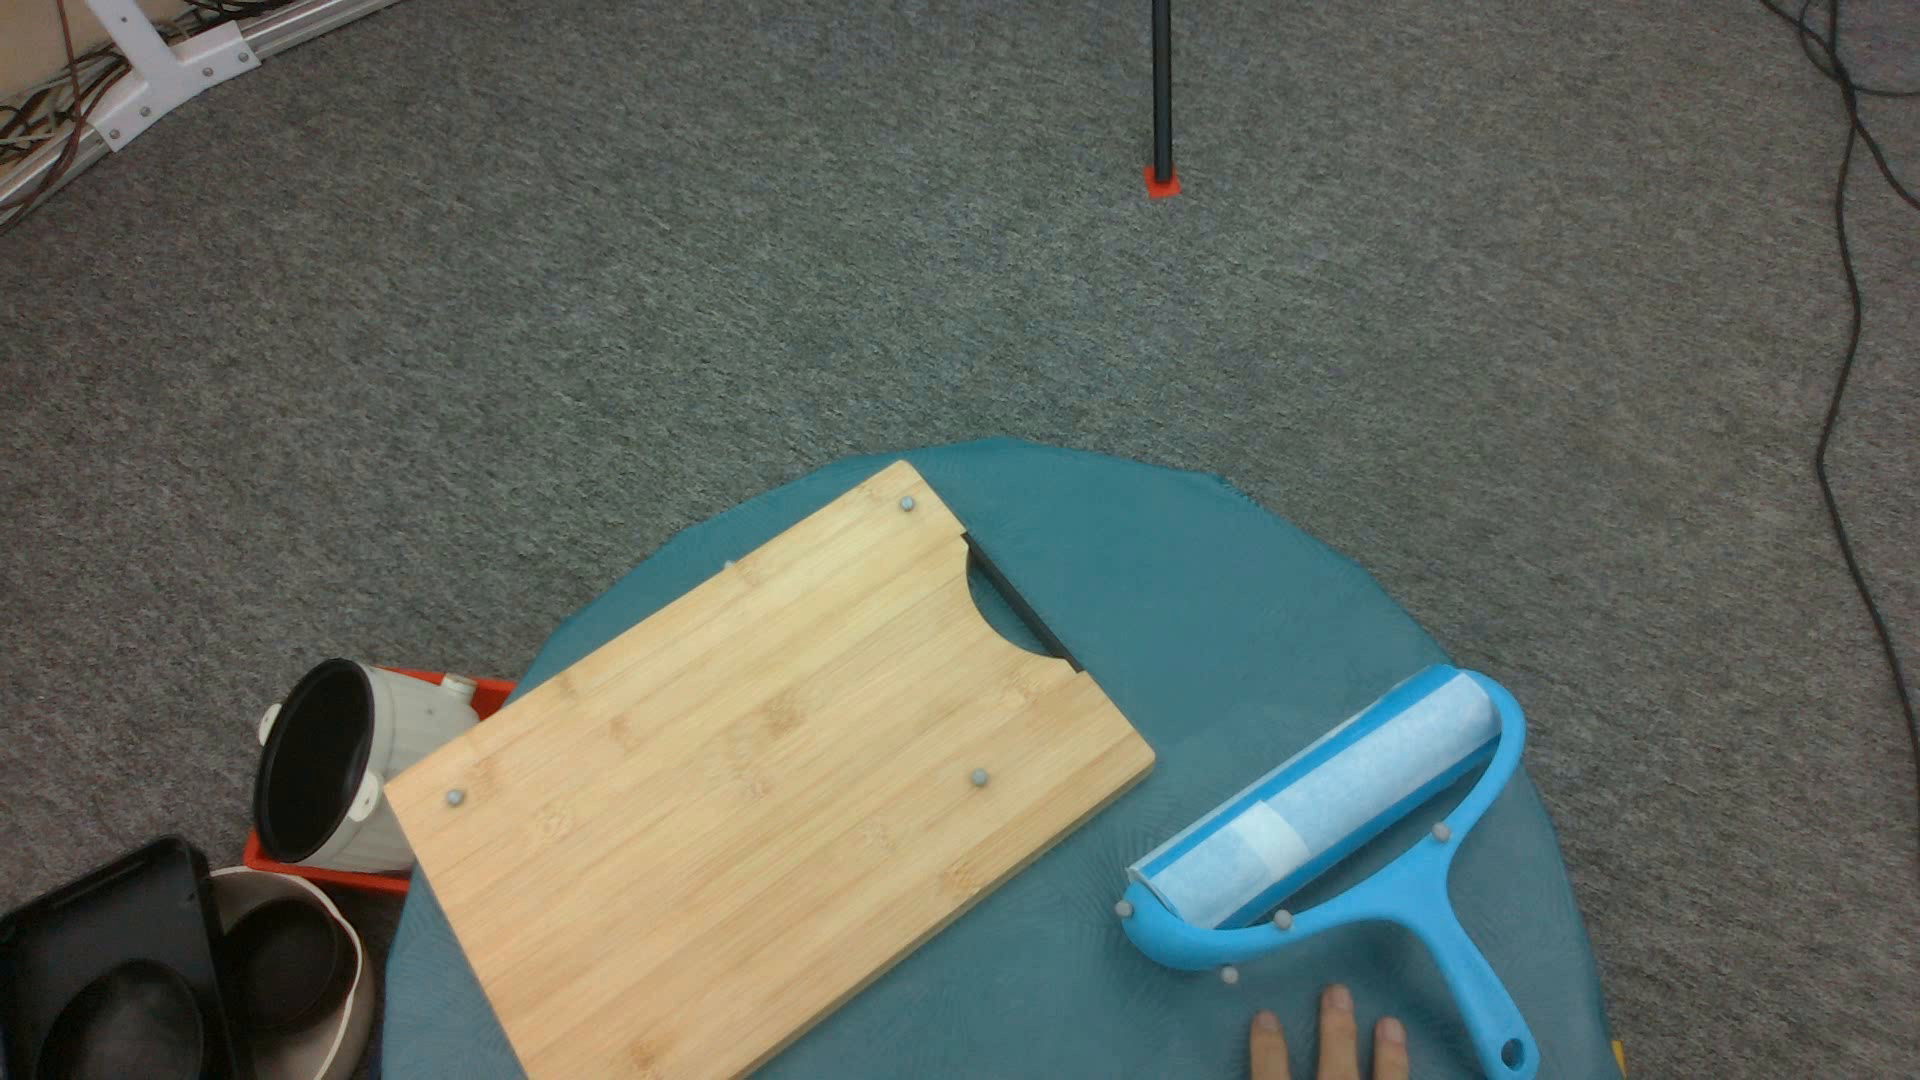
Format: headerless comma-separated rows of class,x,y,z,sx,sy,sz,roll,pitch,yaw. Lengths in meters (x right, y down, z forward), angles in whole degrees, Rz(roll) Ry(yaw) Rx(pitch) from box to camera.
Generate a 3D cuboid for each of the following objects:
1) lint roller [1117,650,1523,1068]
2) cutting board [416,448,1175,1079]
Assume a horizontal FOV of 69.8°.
lint roller,0.211,0.168,0.671,0.229,0.067,0.180,-32,61,-14
cutting board,-0.095,0.121,0.751,0.349,0.023,0.251,-34,63,-14
